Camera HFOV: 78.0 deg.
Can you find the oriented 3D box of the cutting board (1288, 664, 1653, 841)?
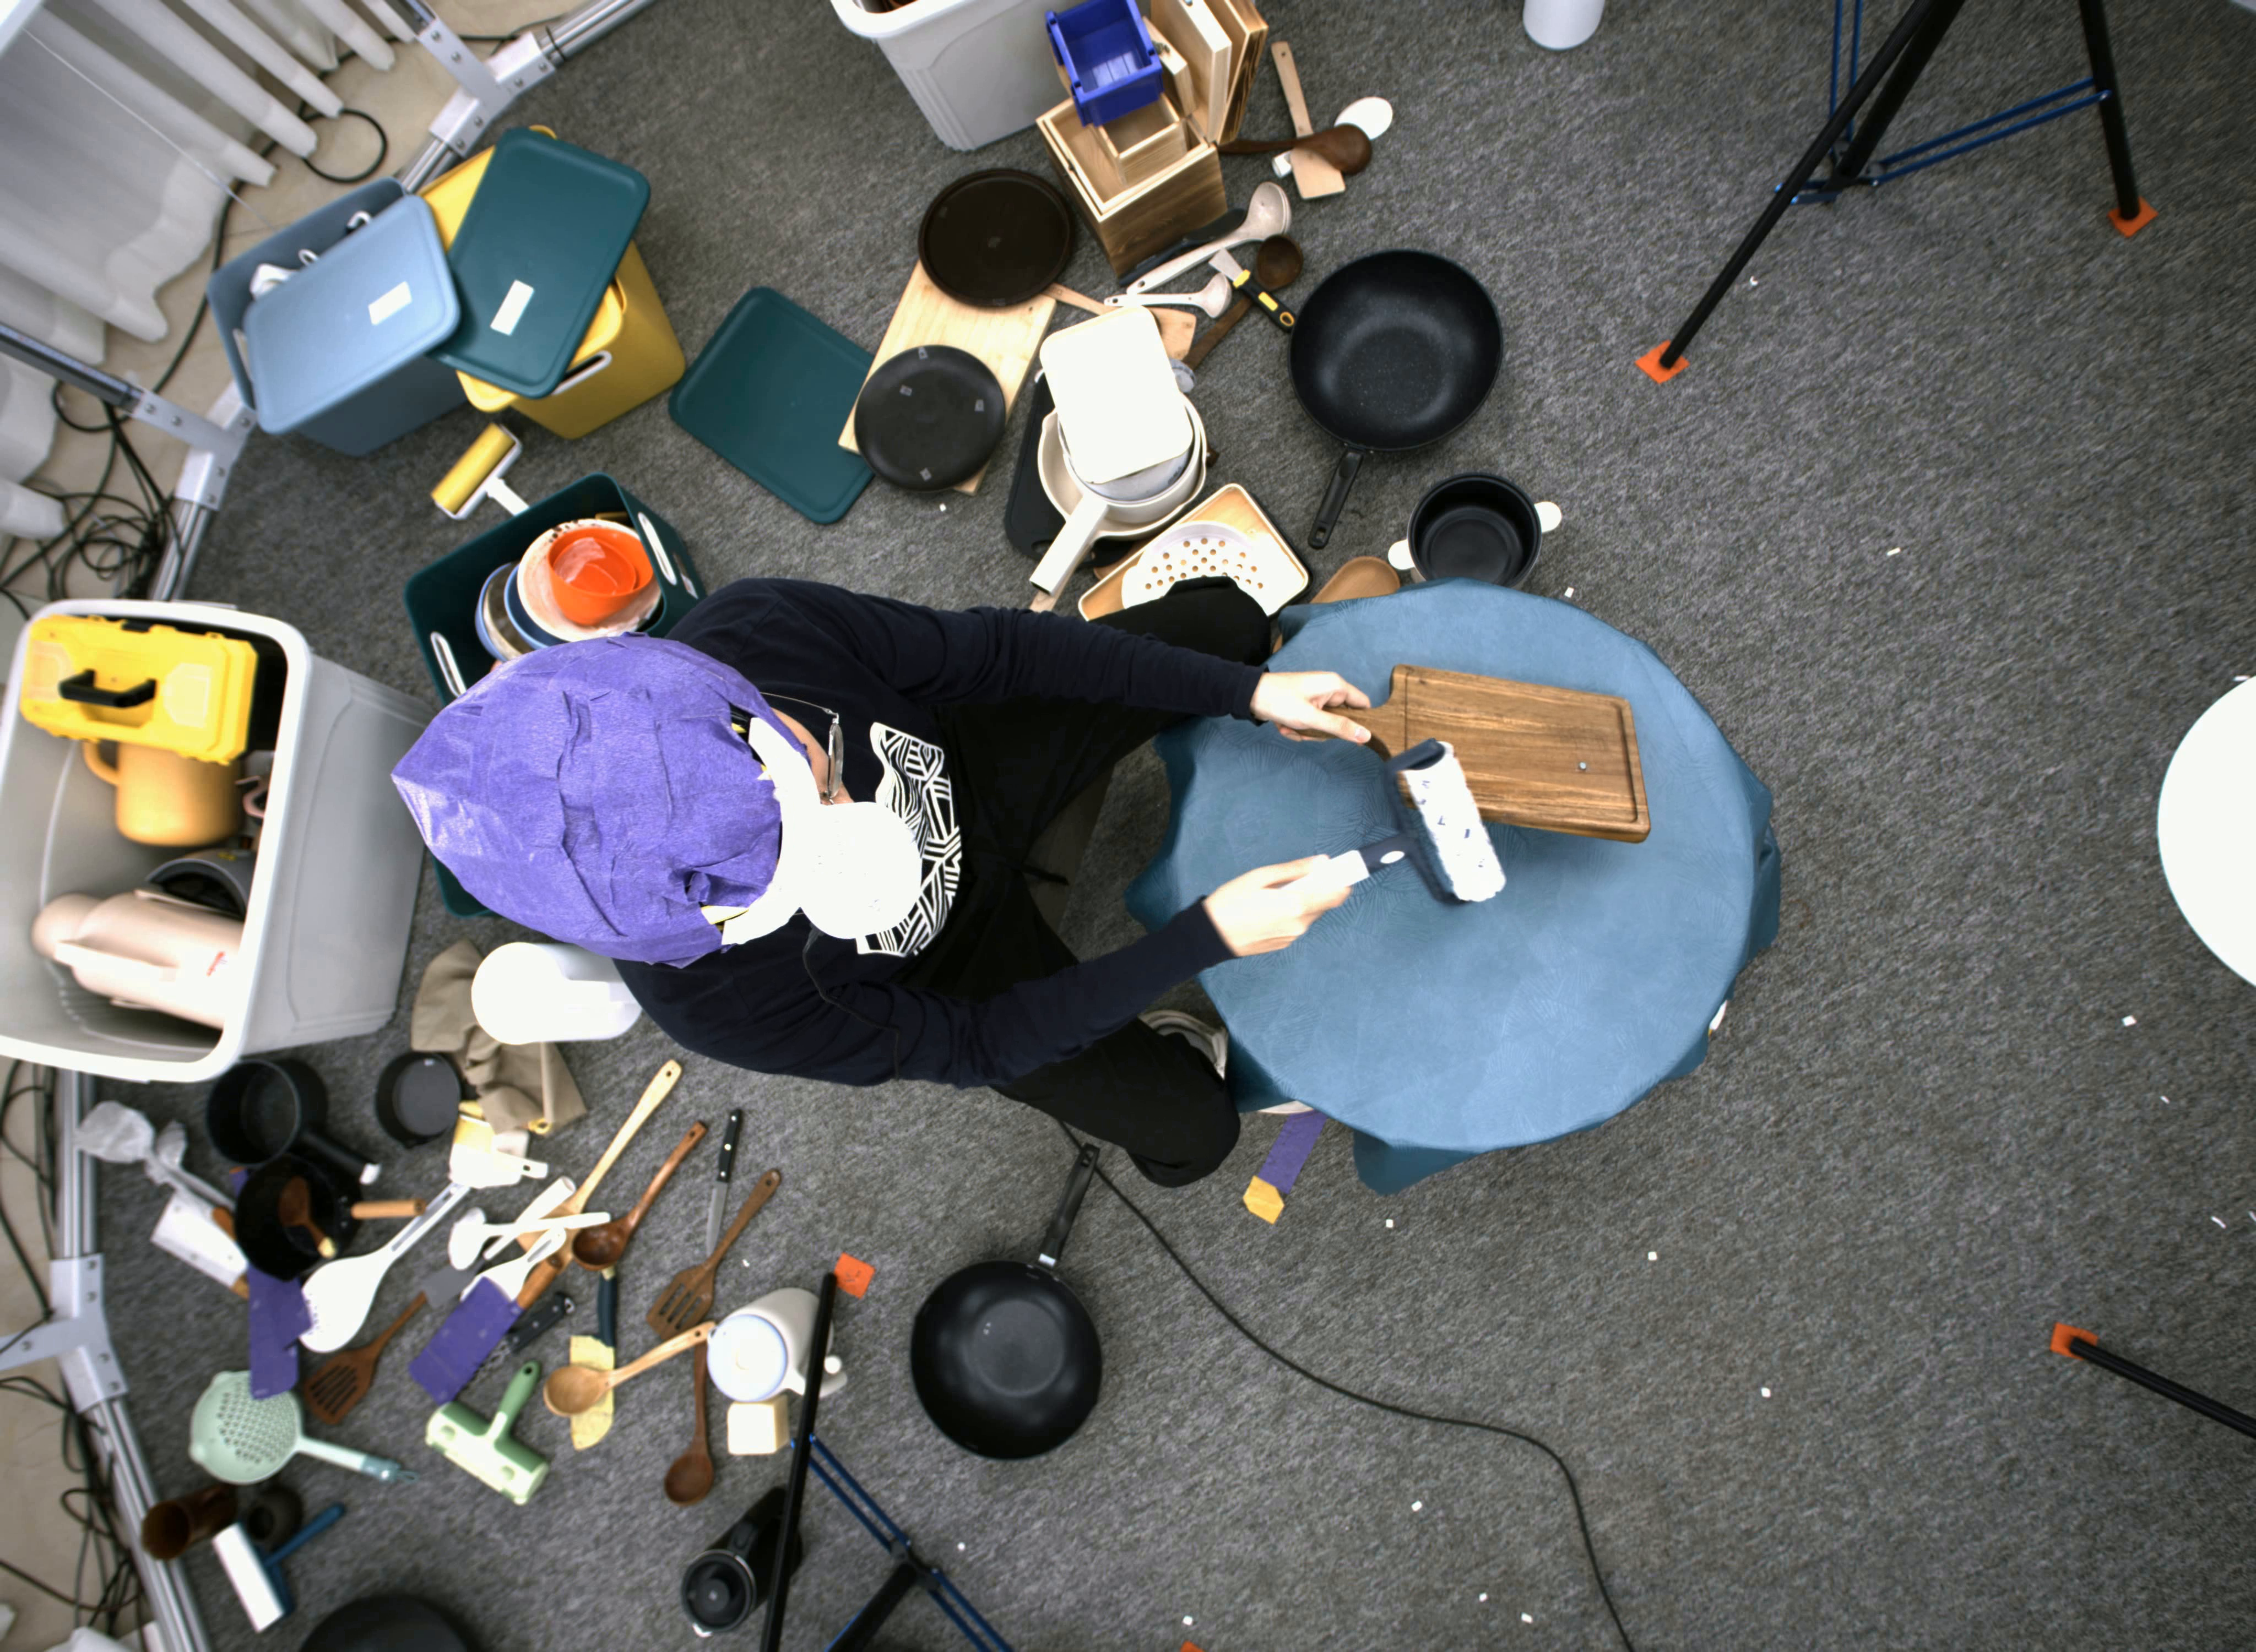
[{"bbox_3d":[0.335,-0.086,1.365,0.353,0.024,0.195,8,49,3],"label":"cutting board"}]

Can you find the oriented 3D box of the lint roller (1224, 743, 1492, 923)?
[{"bbox_3d":[0.206,0.040,1.304,0.249,0.049,0.179,-26,123,11],"label":"lint roller"}]
